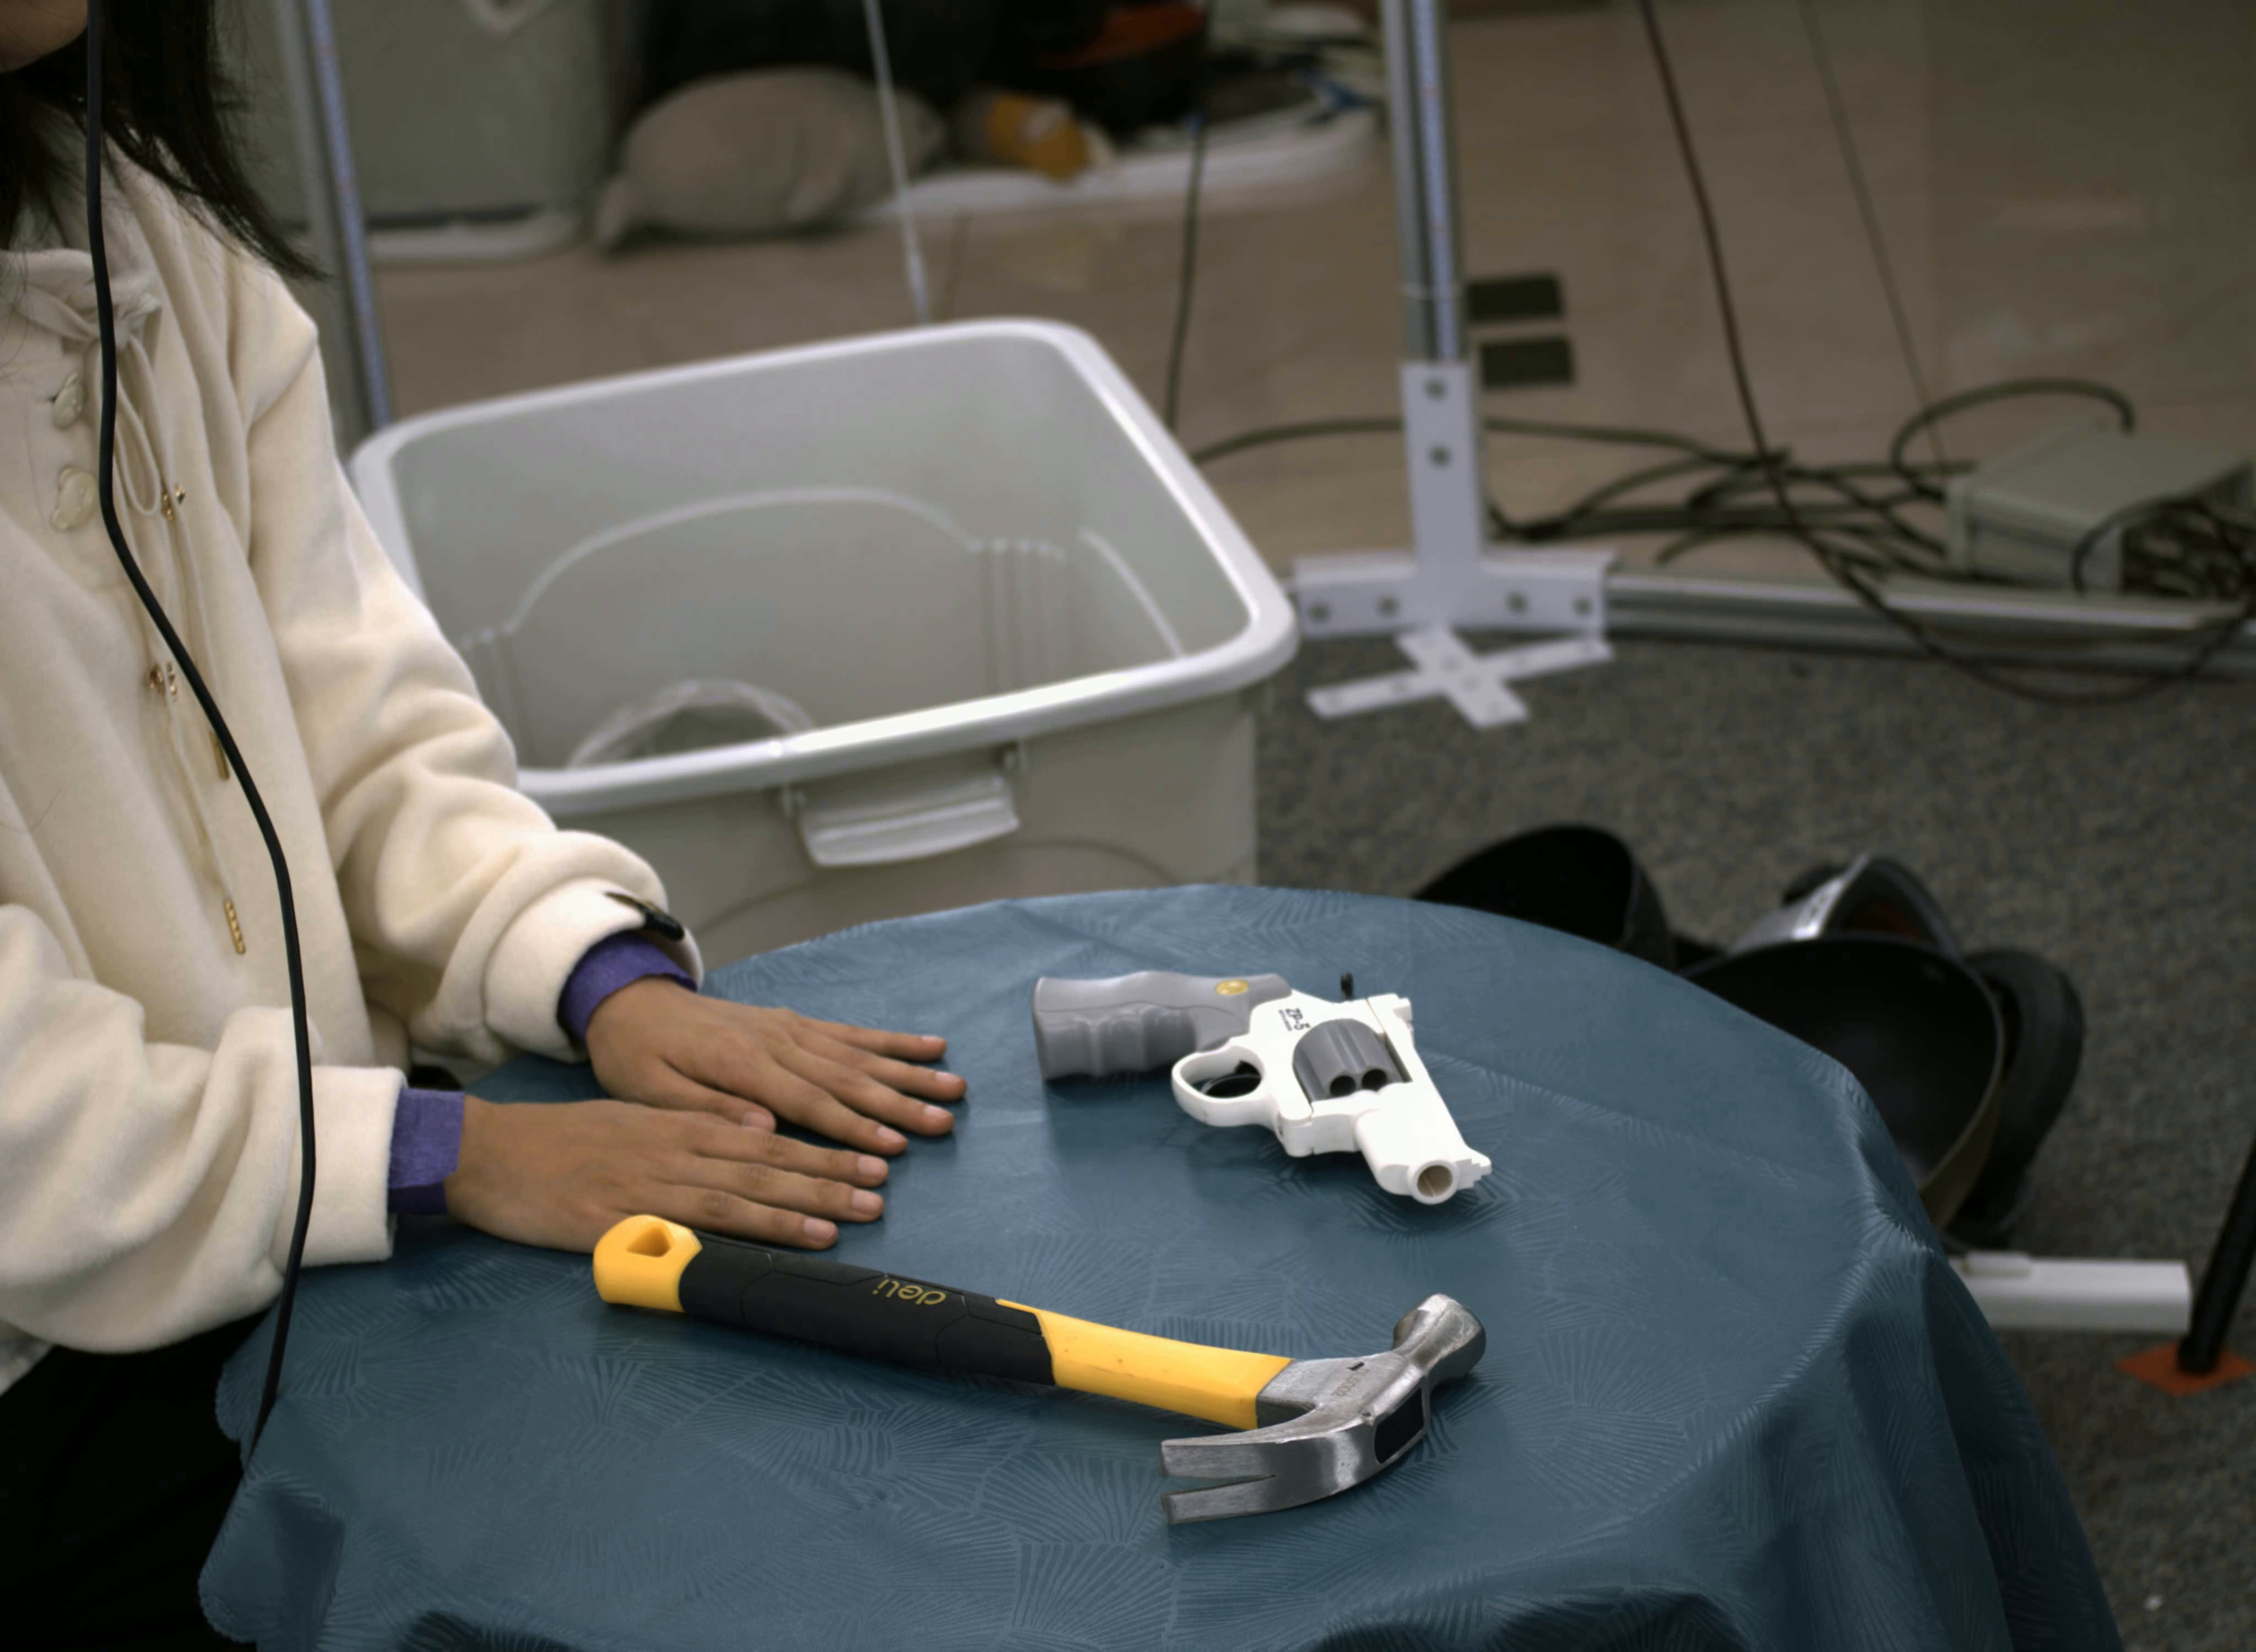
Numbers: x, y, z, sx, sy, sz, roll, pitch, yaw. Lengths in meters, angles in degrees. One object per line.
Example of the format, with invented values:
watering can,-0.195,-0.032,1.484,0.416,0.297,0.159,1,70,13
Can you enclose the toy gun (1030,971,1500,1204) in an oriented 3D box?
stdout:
toy gun,0.048,0.098,2.176,0.141,0.039,0.206,-10,25,-10

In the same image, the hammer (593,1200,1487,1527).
hammer,-0.049,0.179,2.030,0.337,0.033,0.130,10,32,30
